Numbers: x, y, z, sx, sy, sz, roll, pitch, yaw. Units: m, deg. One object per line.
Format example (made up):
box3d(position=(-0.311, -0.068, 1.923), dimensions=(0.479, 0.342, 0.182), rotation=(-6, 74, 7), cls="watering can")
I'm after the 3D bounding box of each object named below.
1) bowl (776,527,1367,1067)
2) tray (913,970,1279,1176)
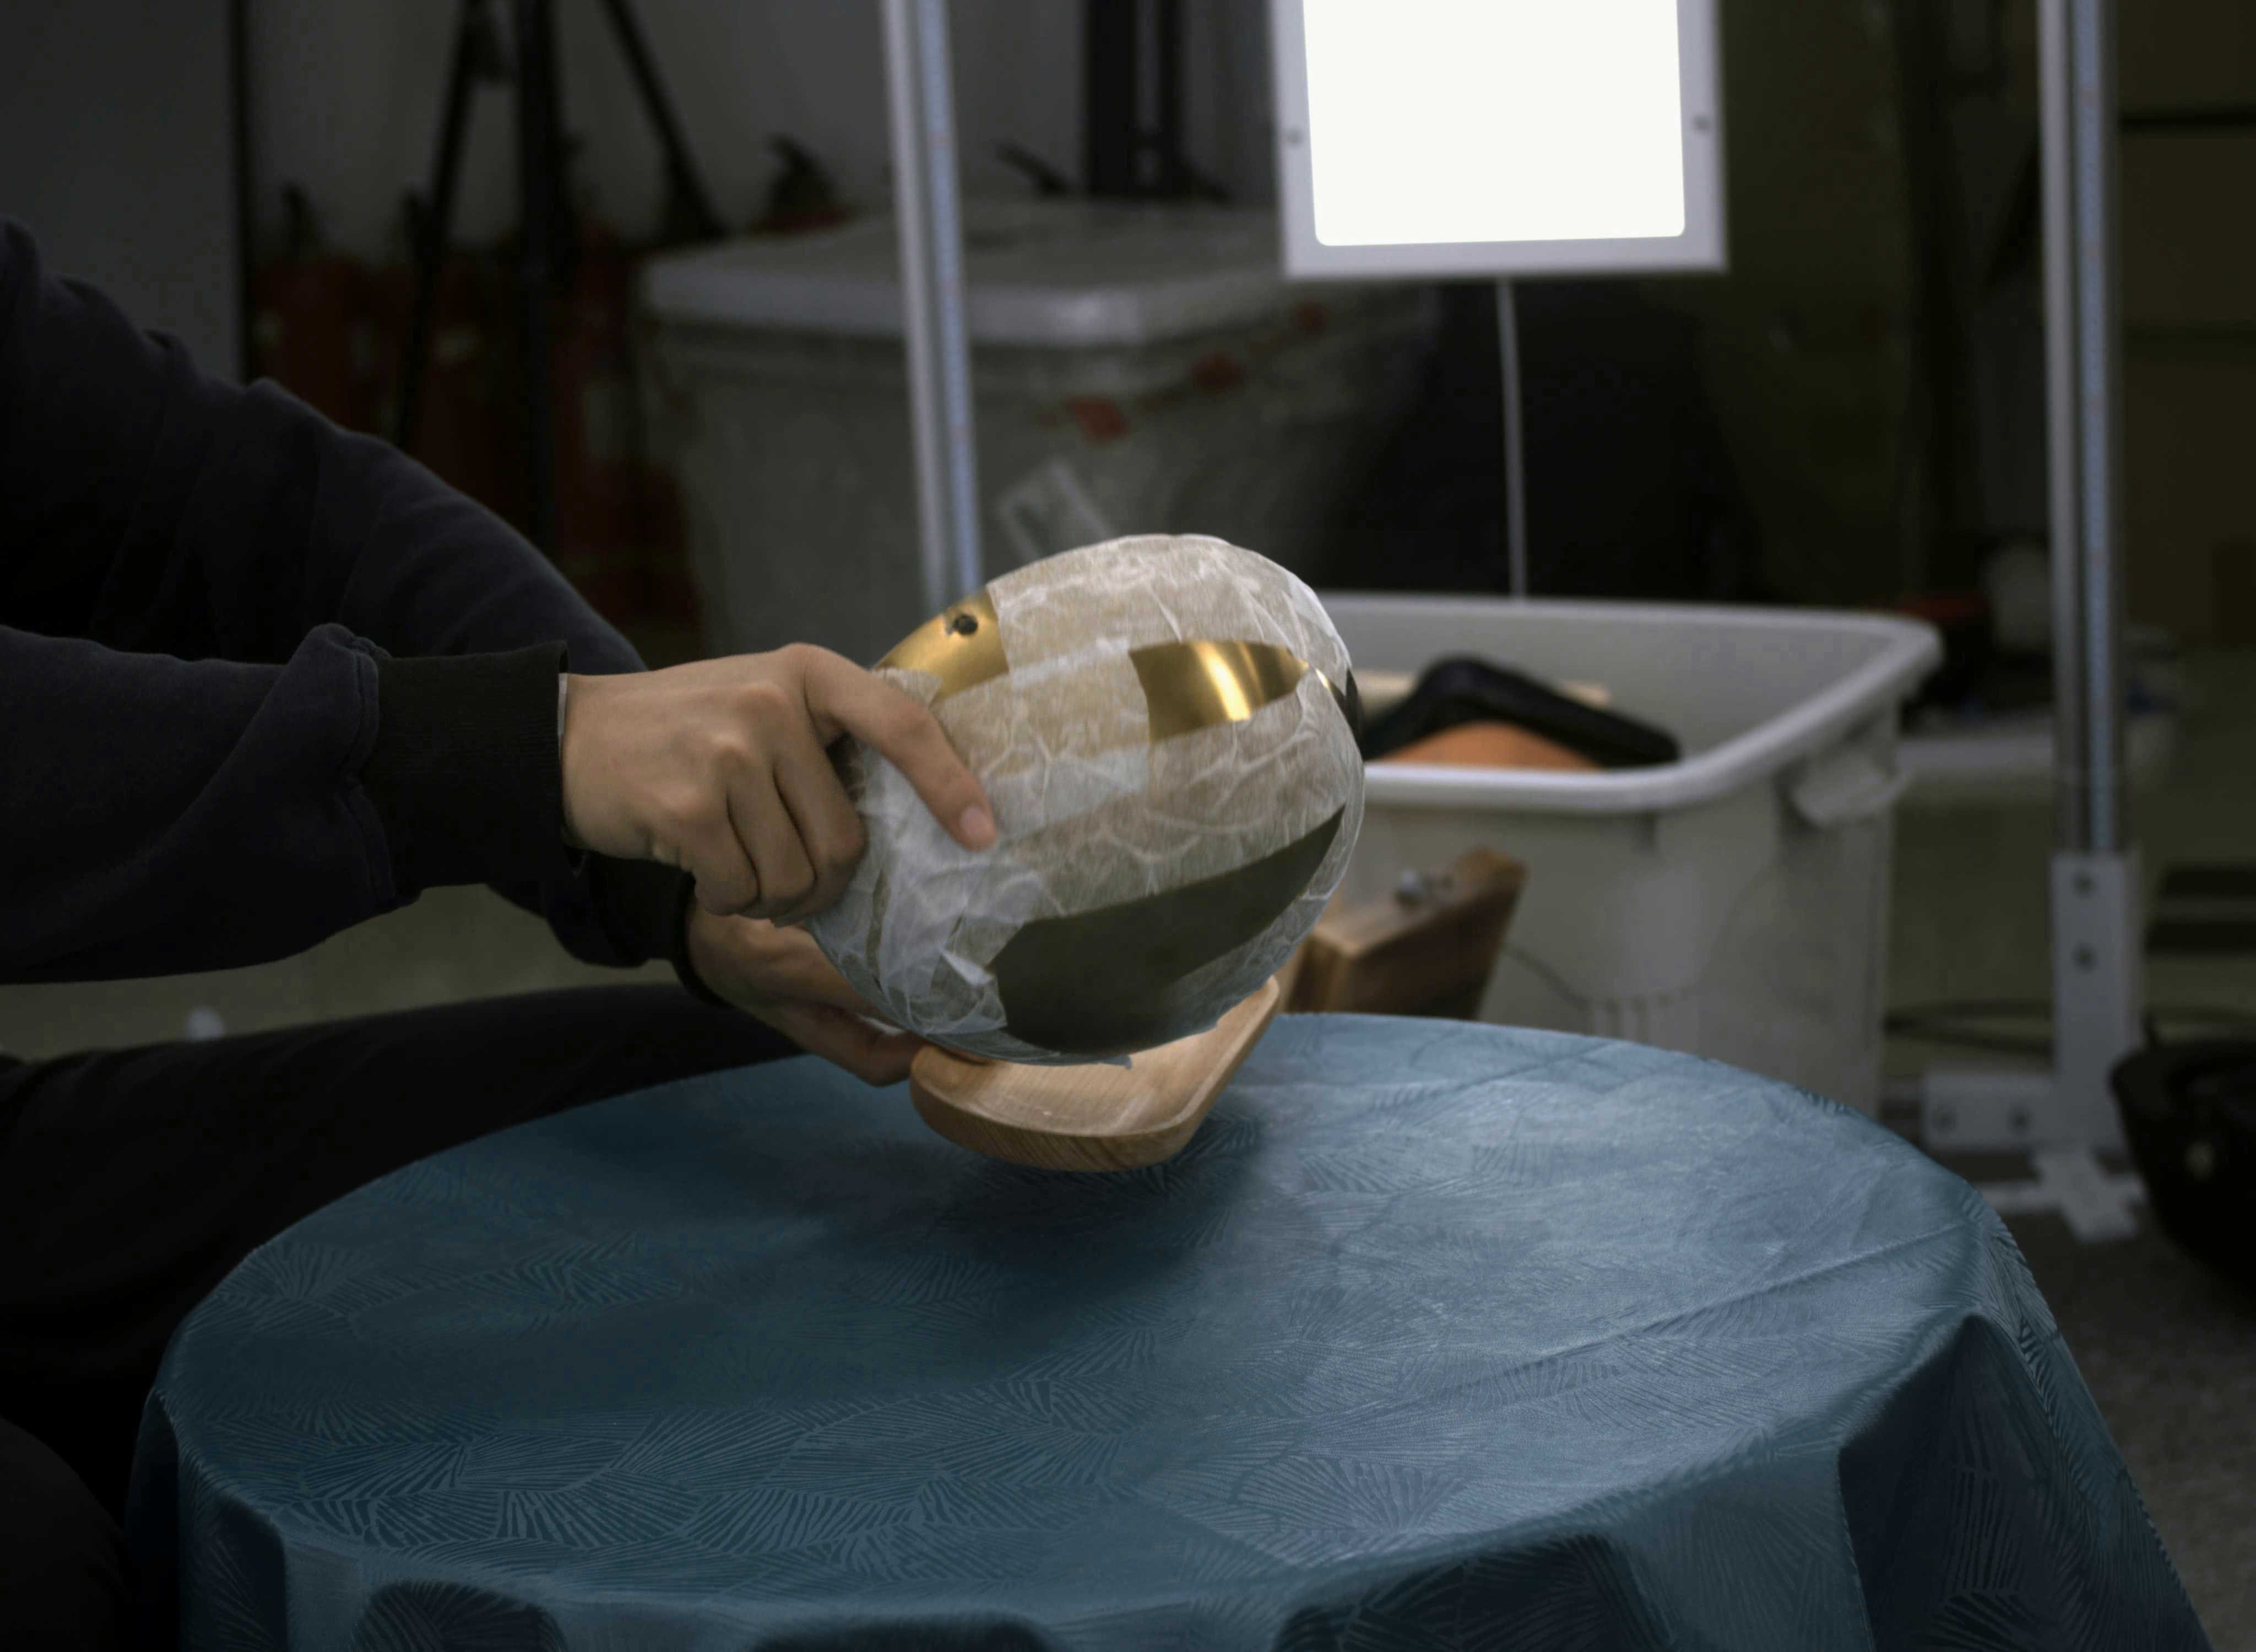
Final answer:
box3d(position=(-0.004, 0.012, 1.798), dimensions=(0.210, 0.217, 0.095), rotation=(-10, 46, -24), cls="bowl")
box3d(position=(-0.009, 0.078, 1.944), dimensions=(0.102, 0.020, 0.228), rotation=(9, 19, 11), cls="tray")
